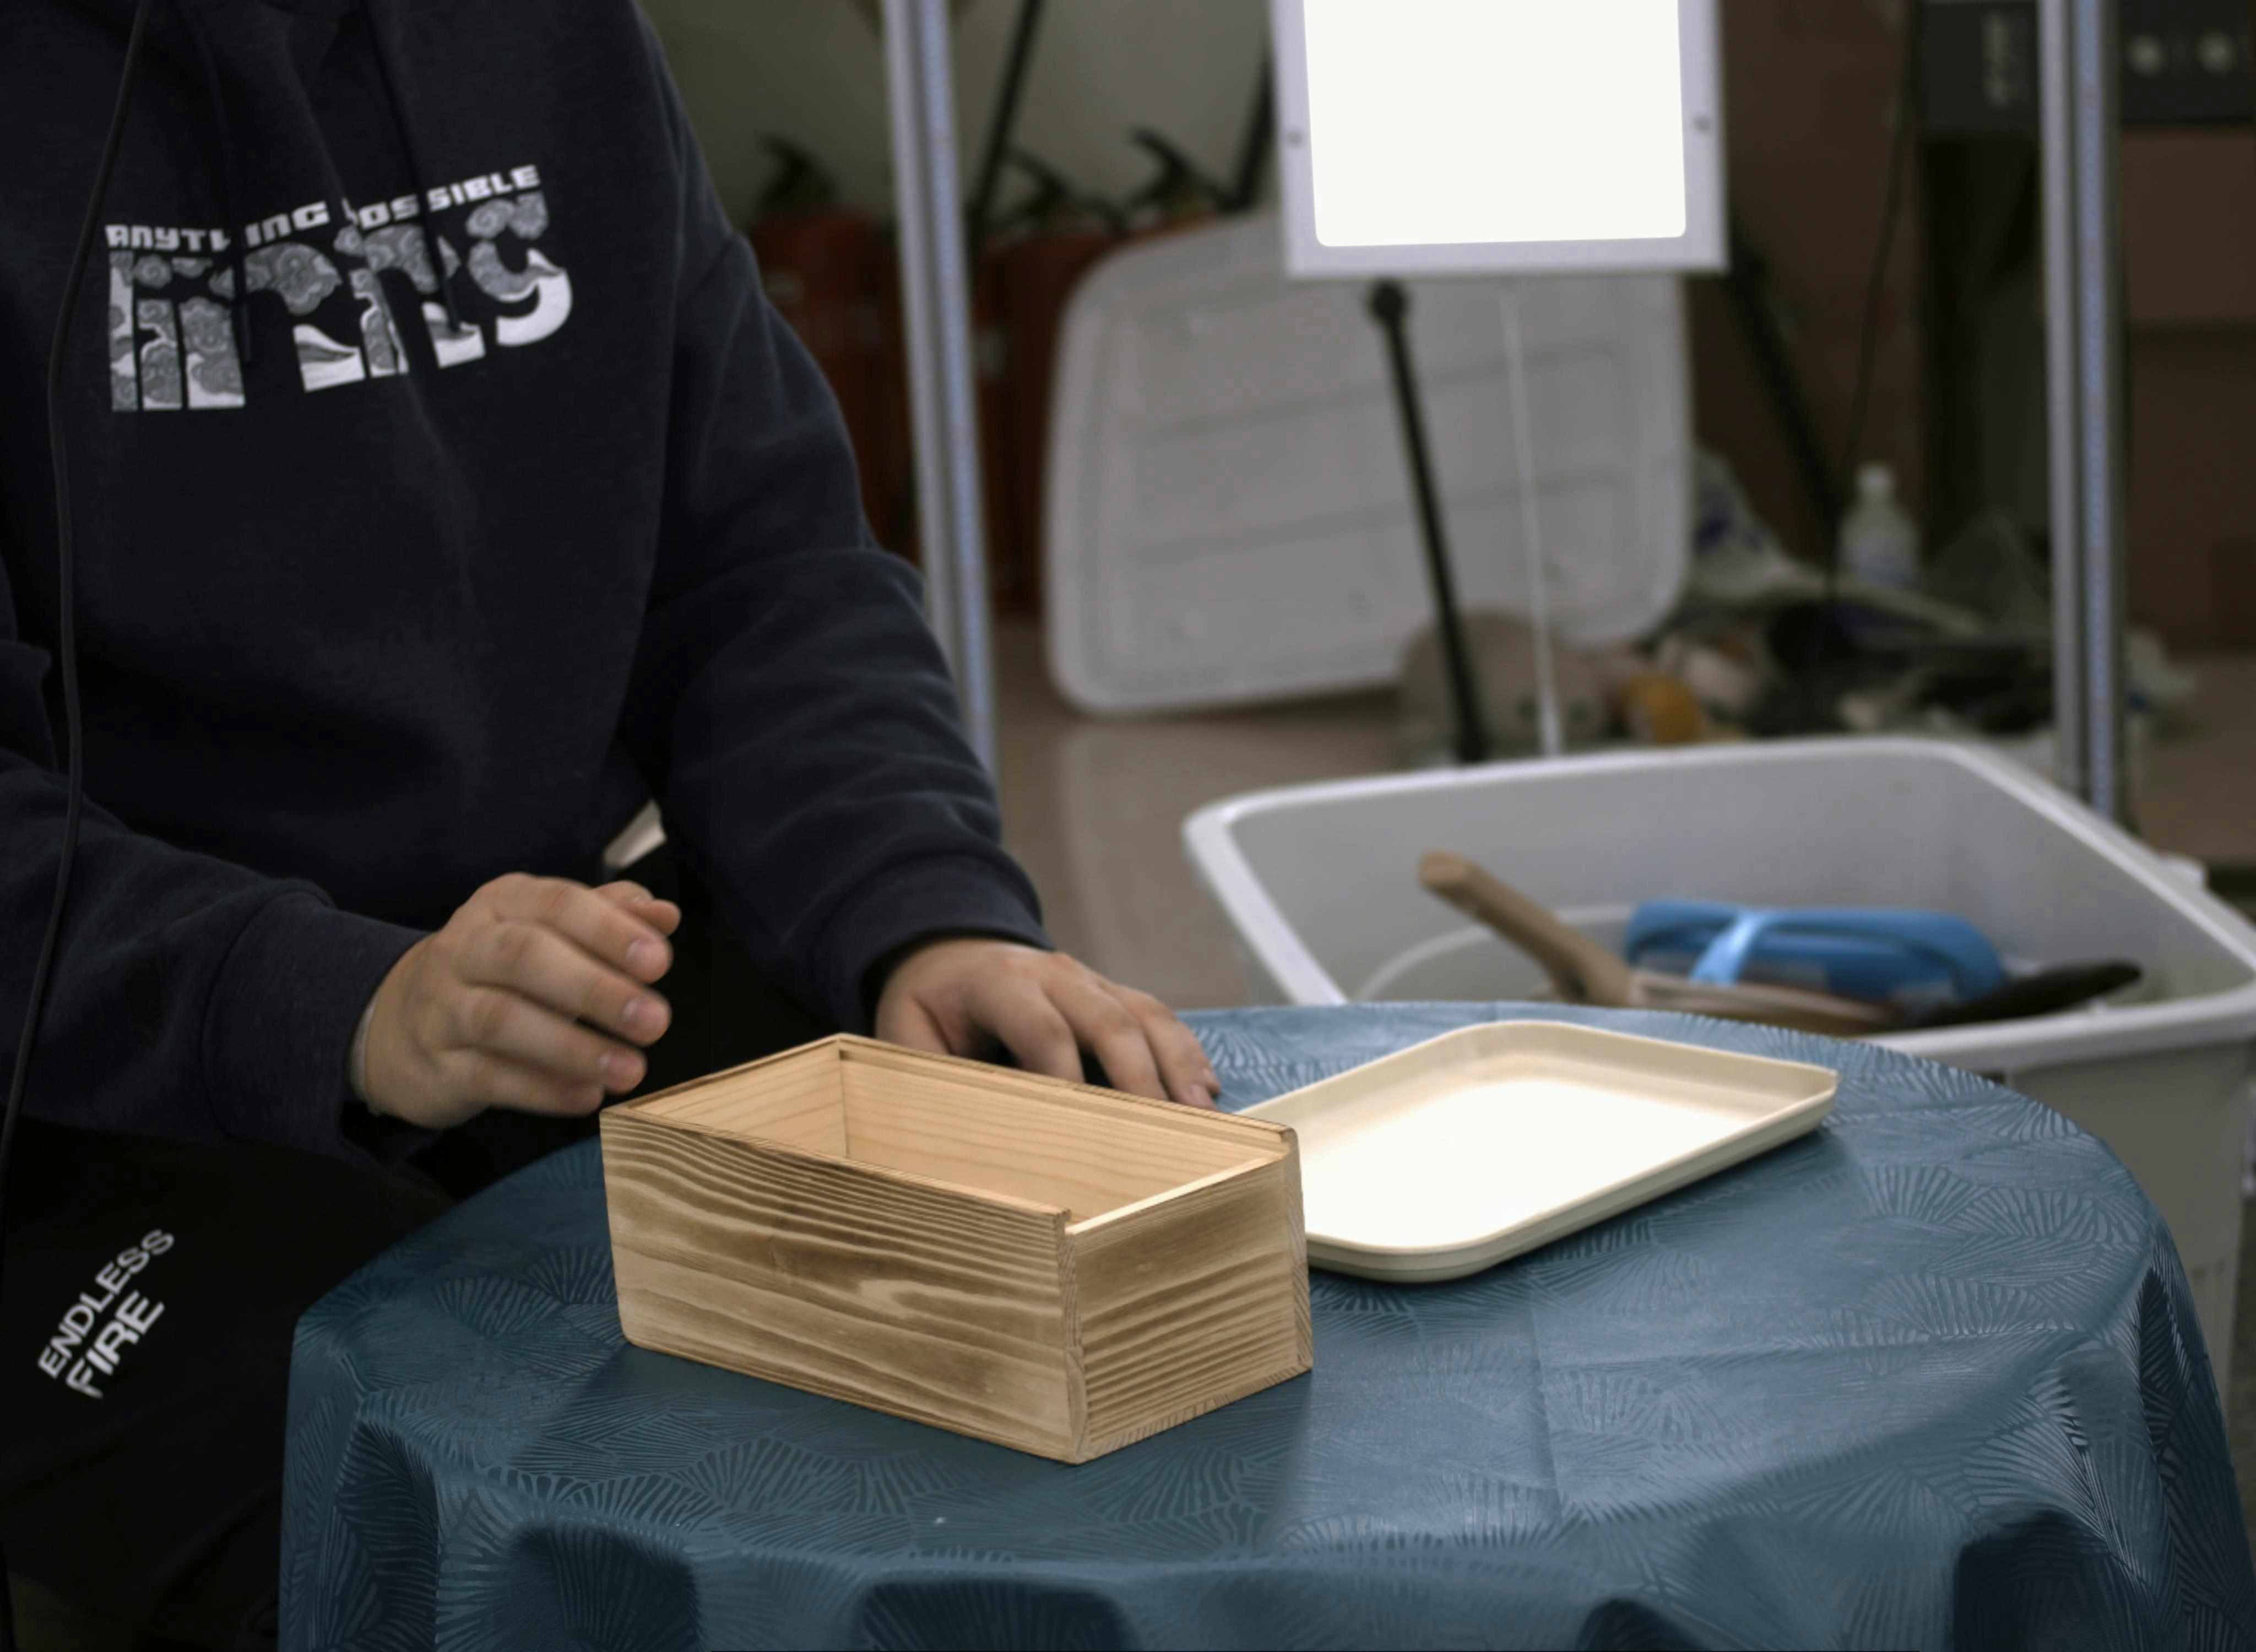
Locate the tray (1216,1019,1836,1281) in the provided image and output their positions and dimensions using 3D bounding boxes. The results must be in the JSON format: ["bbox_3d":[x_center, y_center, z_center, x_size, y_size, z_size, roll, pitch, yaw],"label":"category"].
[{"bbox_3d":[0.118,0.110,1.887,0.233,0.017,0.175,-18,18,-42],"label":"tray"}]

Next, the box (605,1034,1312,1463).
[{"bbox_3d":[-0.055,0.129,1.737,0.105,0.080,0.216,-16,17,-42],"label":"box"}]
